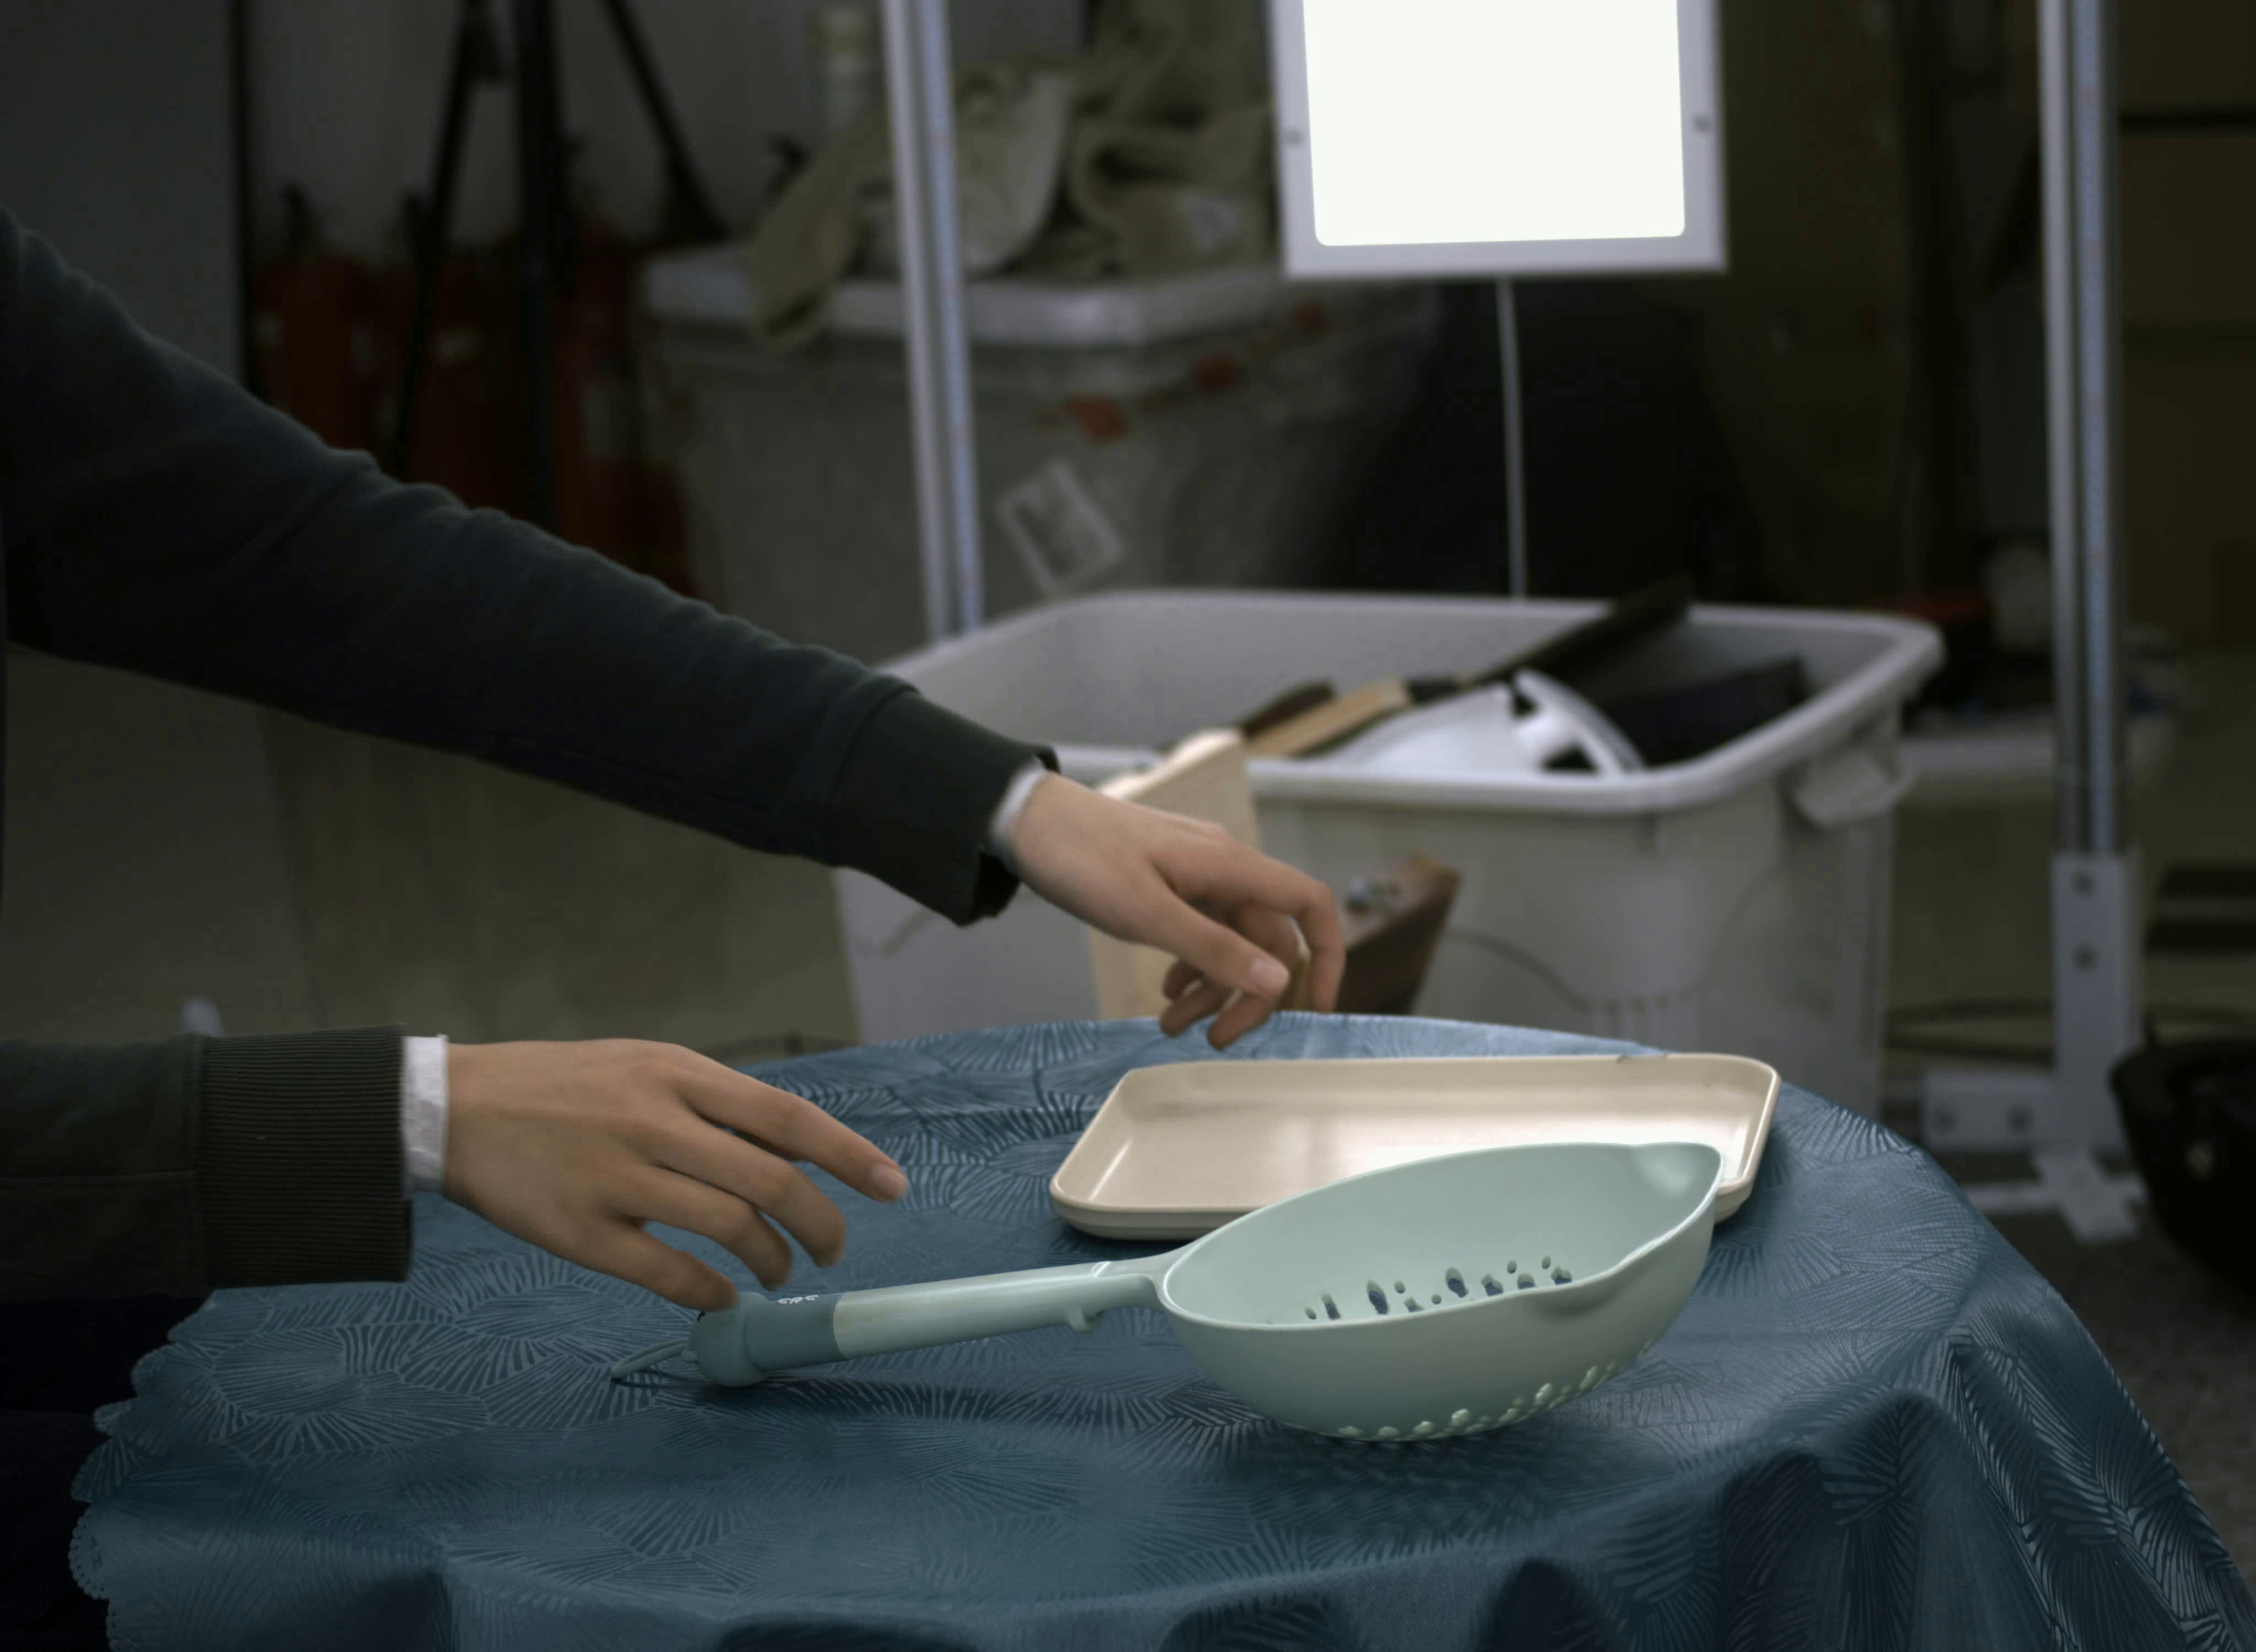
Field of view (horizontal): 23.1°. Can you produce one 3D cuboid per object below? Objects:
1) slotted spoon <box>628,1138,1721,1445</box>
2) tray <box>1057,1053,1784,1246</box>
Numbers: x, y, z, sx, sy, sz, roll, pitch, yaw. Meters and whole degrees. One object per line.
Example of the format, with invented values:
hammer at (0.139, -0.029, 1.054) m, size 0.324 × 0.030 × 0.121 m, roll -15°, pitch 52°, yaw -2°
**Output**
slotted spoon at (0.006, 0.146, 1.684) m, size 0.364 × 0.075 × 0.166 m, roll 0°, pitch 14°, yaw 22°
tray at (0.103, 0.112, 1.887) m, size 0.242 × 0.017 × 0.169 m, roll -2°, pitch 14°, yaw 14°
